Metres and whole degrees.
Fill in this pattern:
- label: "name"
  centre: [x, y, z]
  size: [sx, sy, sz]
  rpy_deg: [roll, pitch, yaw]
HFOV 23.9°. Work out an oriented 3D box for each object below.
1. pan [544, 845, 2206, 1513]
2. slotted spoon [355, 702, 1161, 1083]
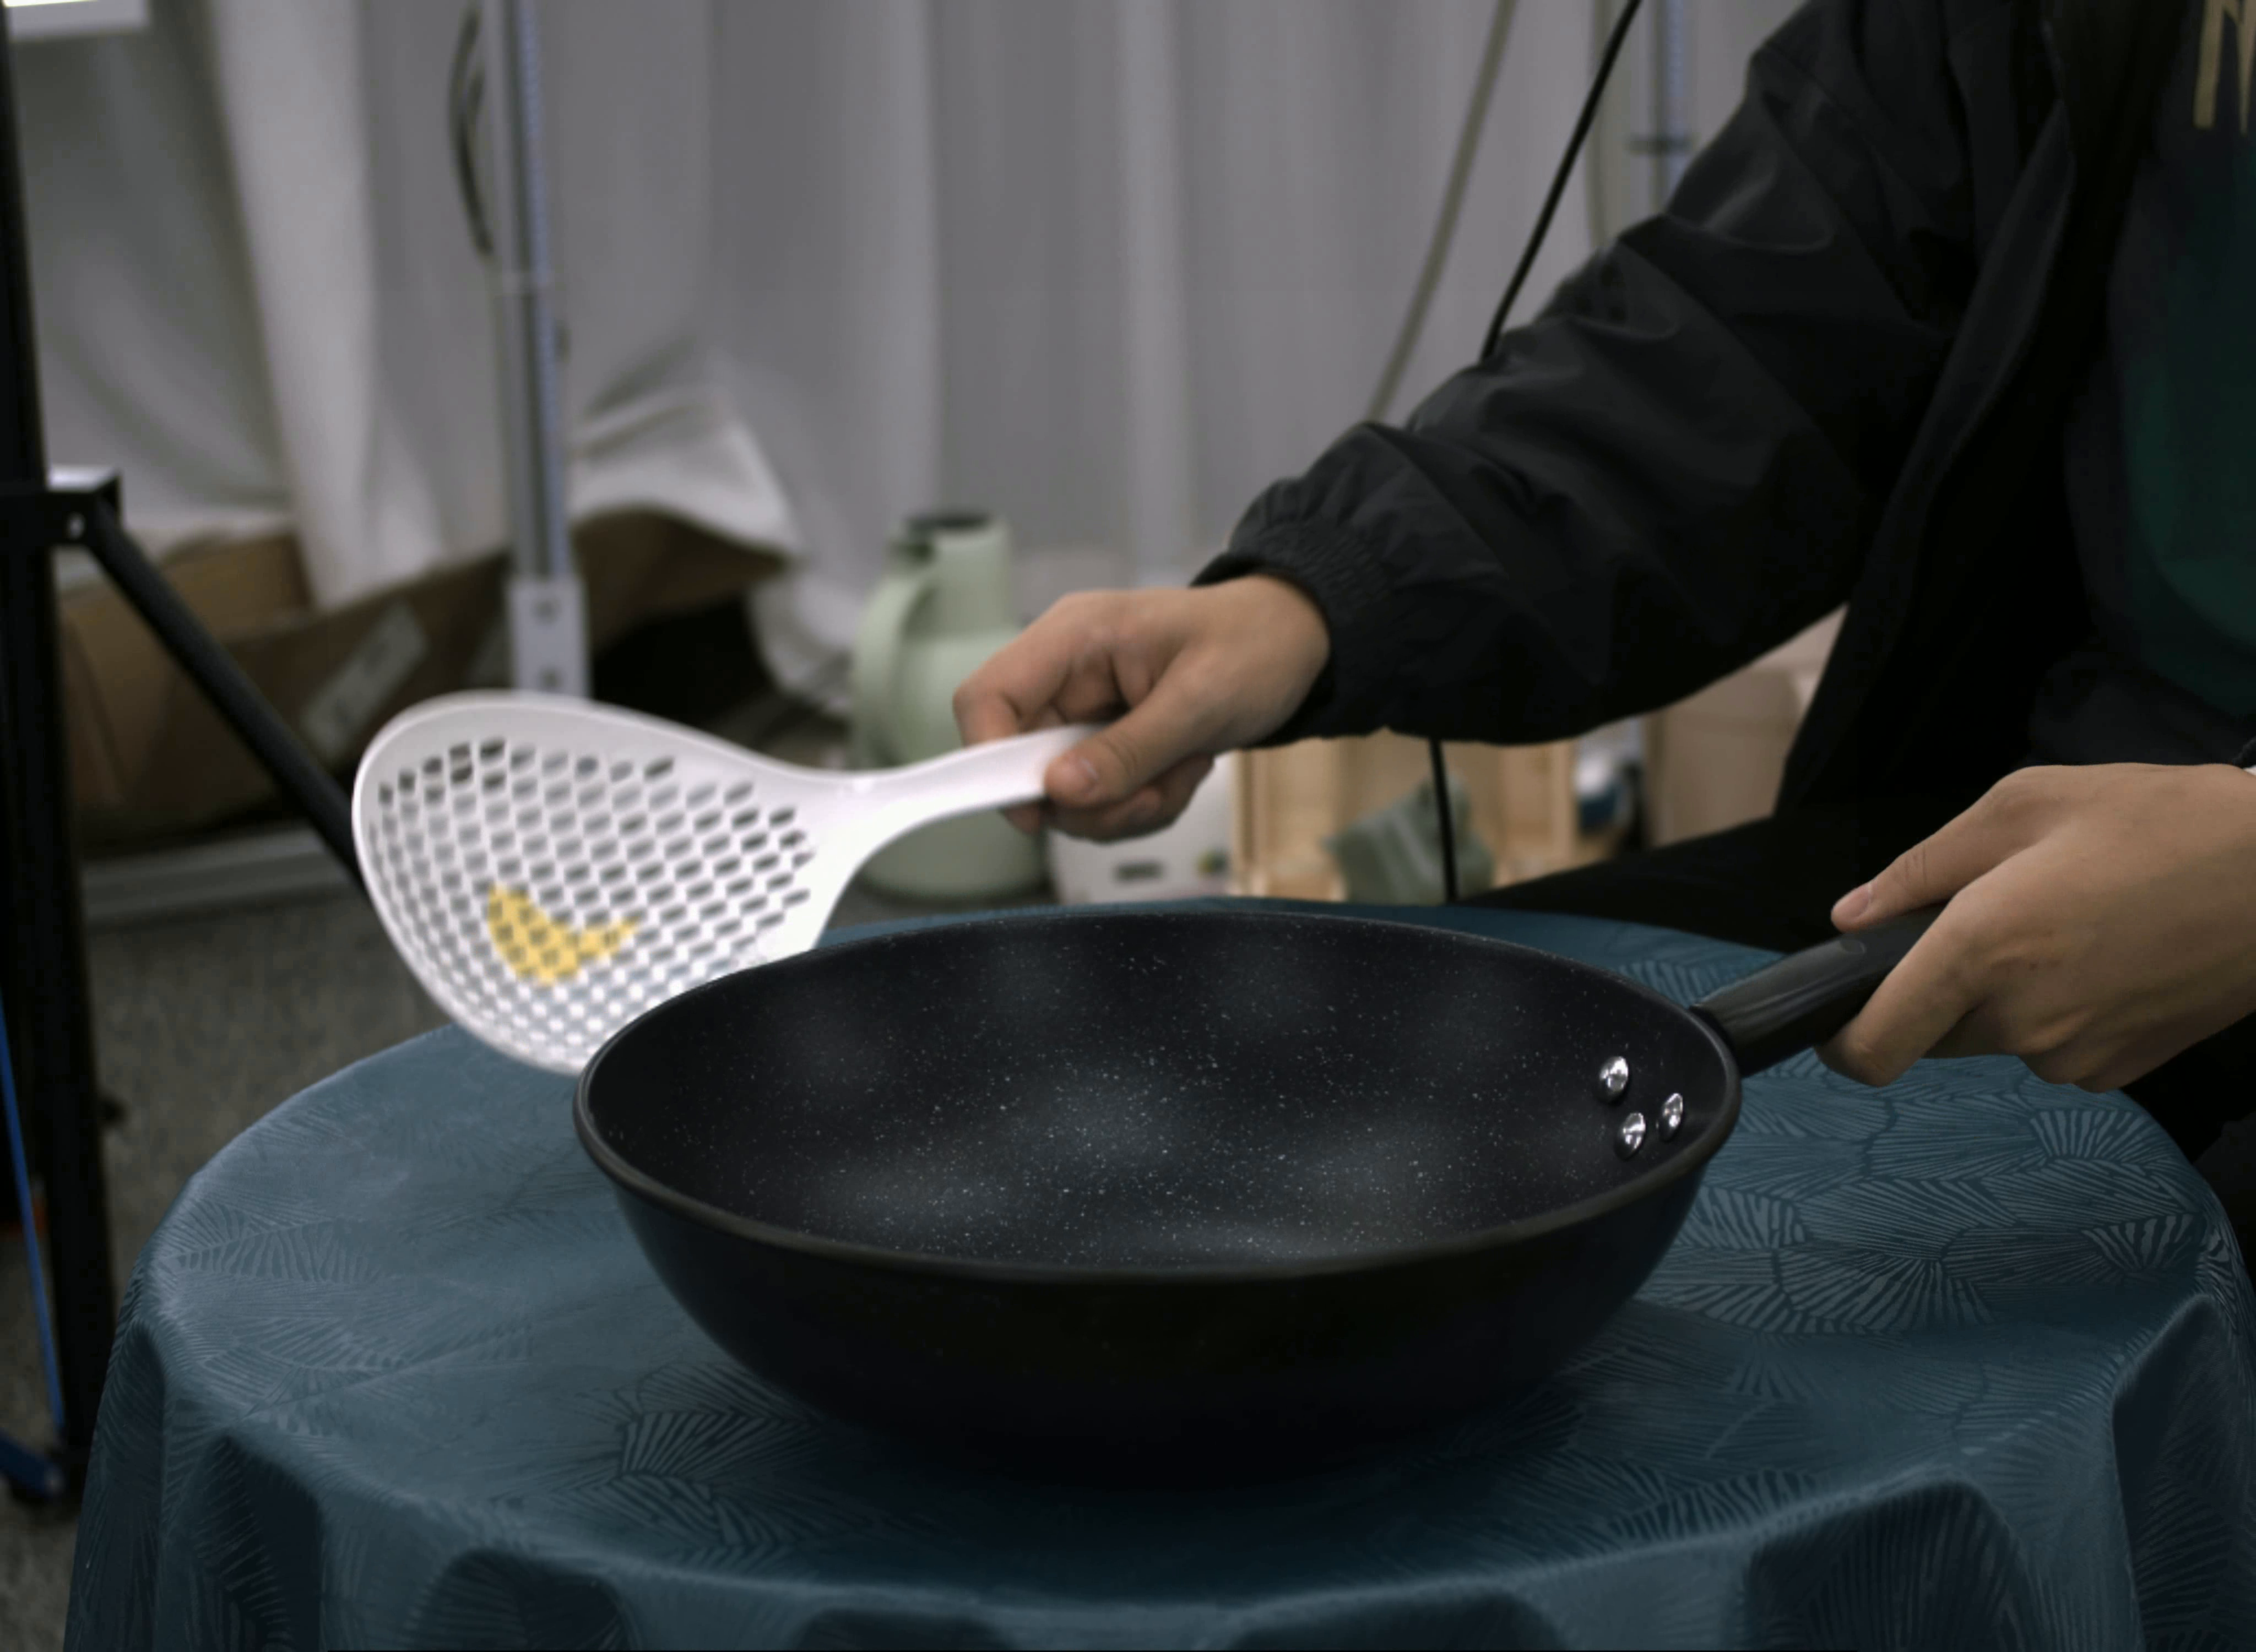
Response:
- label: "pan"
  centre: [0.080, 0.088, 1.427]
  size: [0.468, 0.111, 0.316]
  rpy_deg: [-7, 18, -18]
- label: "slotted spoon"
  centre: [-0.099, 0.006, 1.677]
  size: [0.340, 0.051, 0.139]
  rpy_deg: [-17, 65, -41]
